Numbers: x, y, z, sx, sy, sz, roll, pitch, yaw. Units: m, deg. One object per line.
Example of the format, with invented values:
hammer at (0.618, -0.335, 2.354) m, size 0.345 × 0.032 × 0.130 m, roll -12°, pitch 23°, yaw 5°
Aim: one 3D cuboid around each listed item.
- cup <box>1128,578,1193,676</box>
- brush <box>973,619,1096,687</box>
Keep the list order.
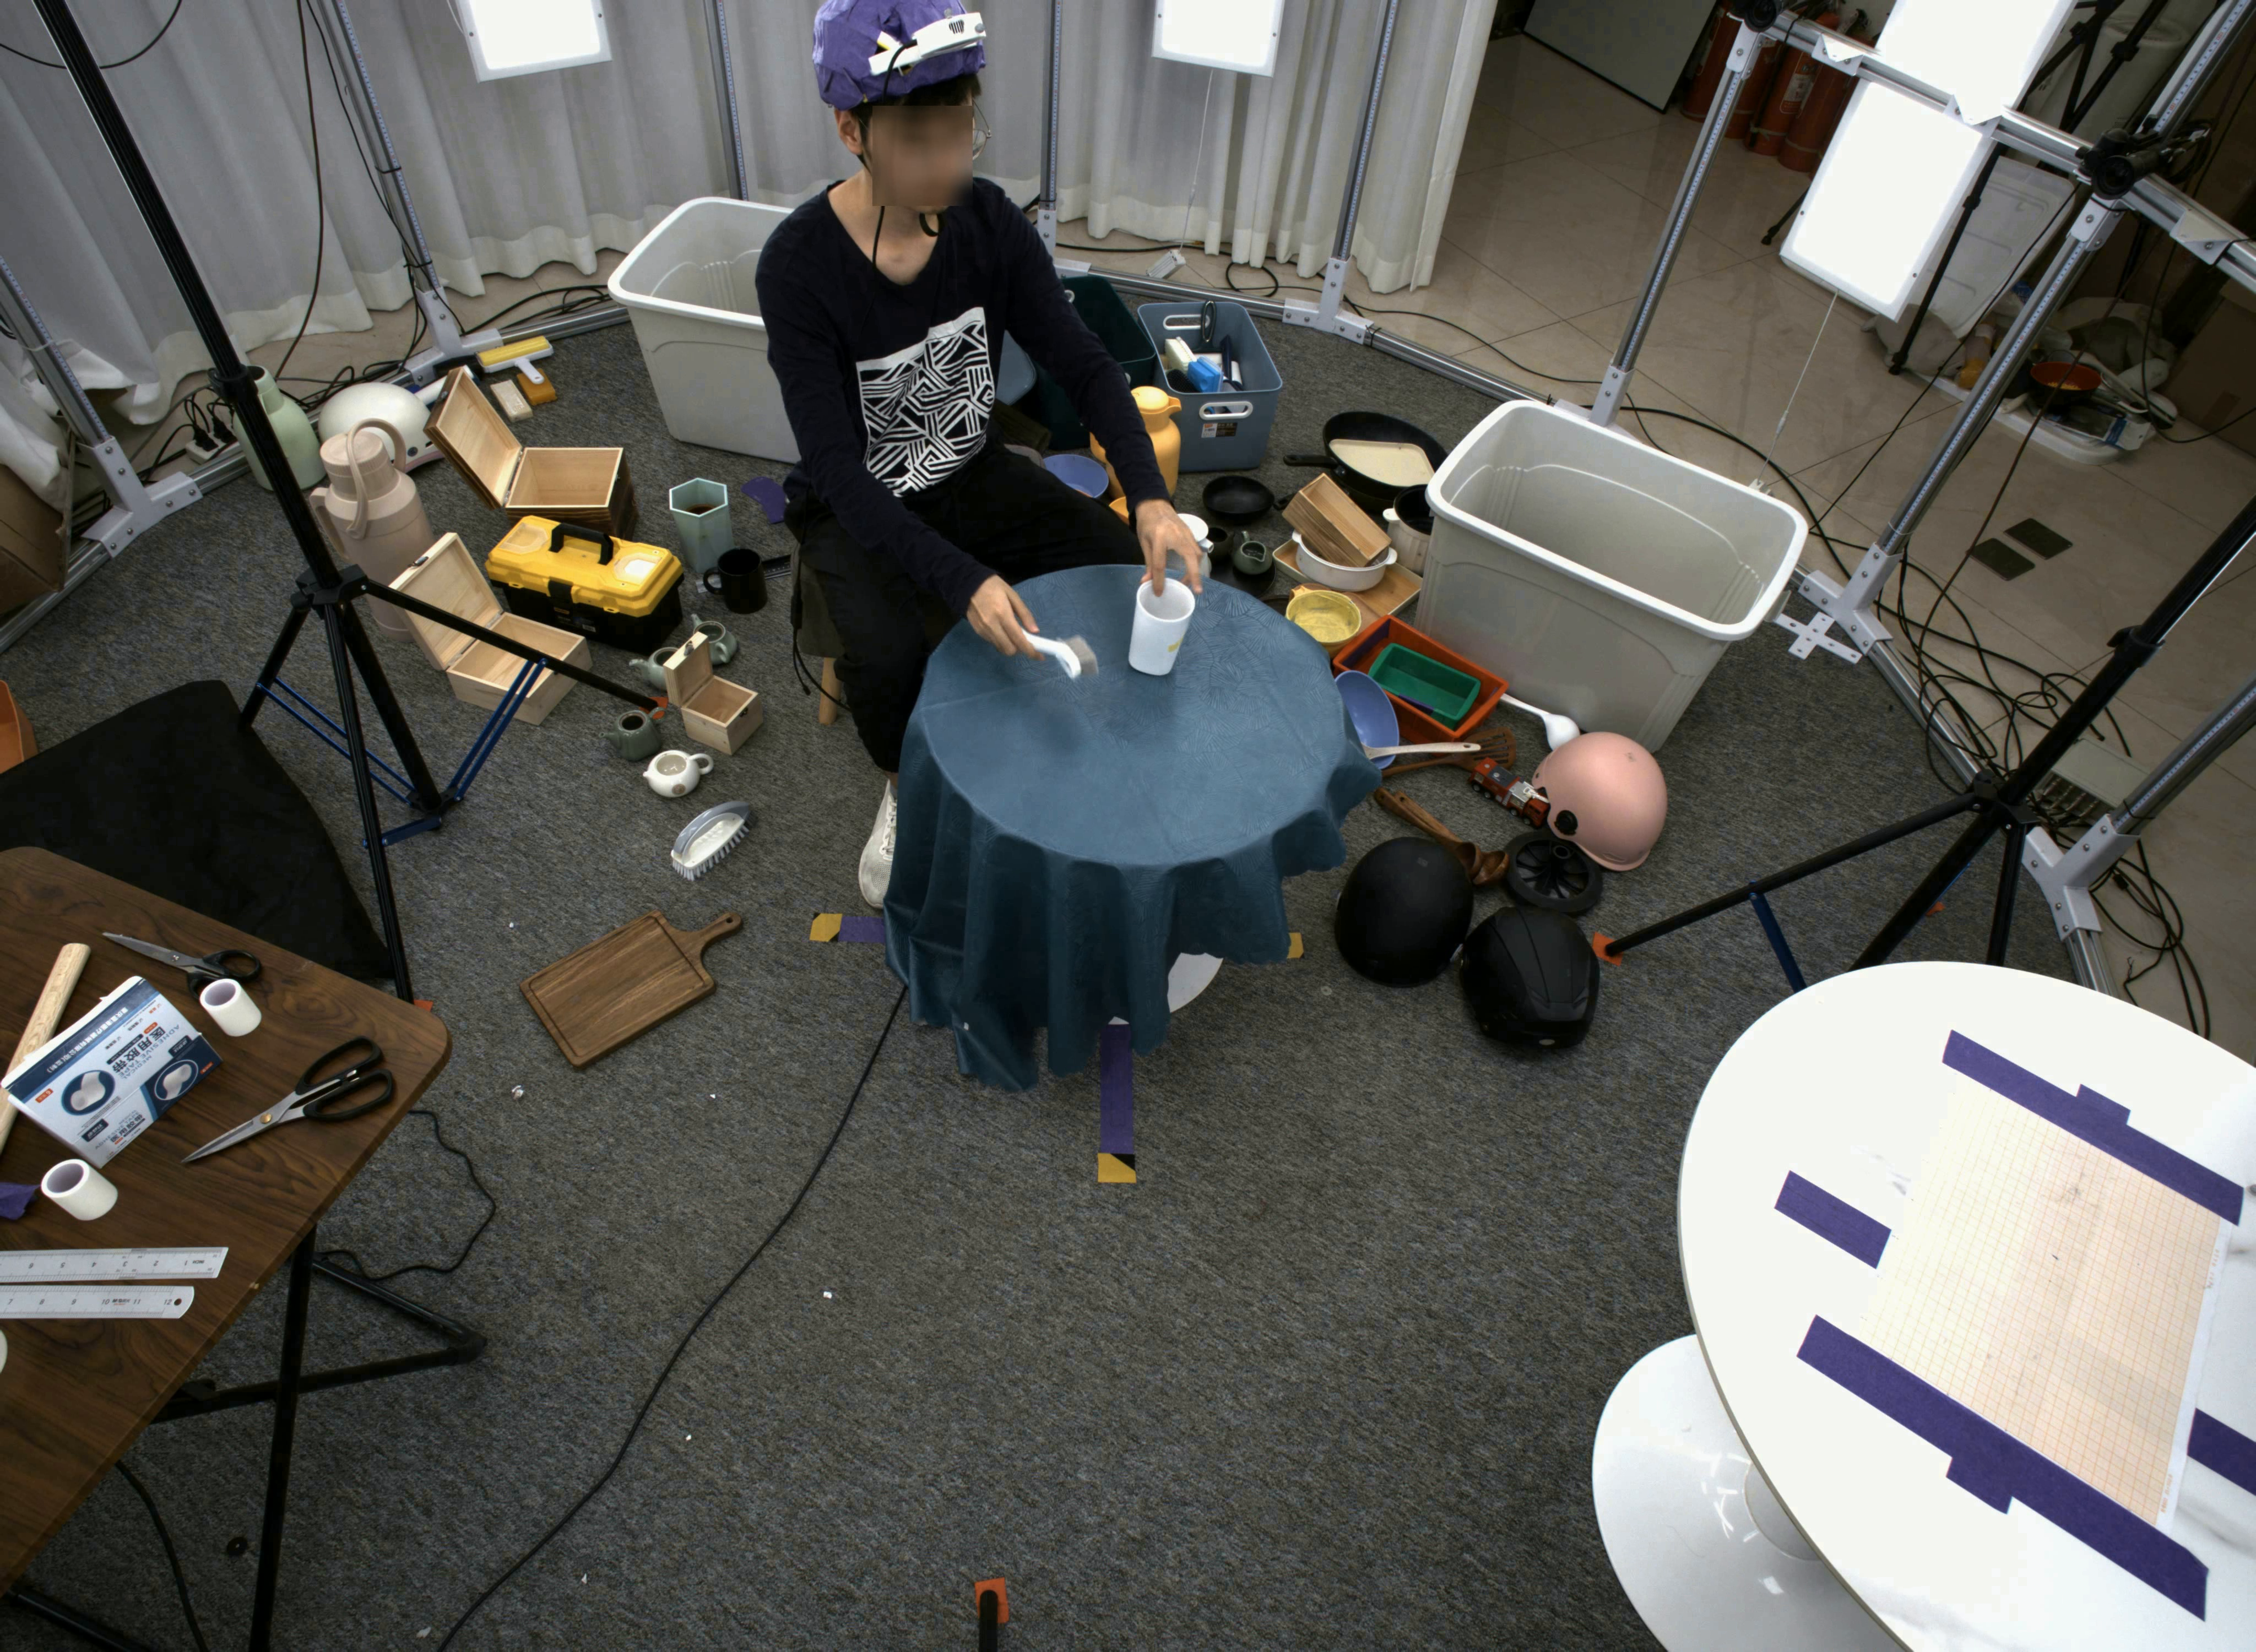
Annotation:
cup at (0.043, -0.280, 1.829) m, size 0.081 × 0.122 × 0.083 m, roll 4°, pitch 54°, yaw -6°
brush at (-0.130, -0.254, 1.798) m, size 0.050 × 0.033 × 0.247 m, roll -36°, pitch 45°, yaw -24°
